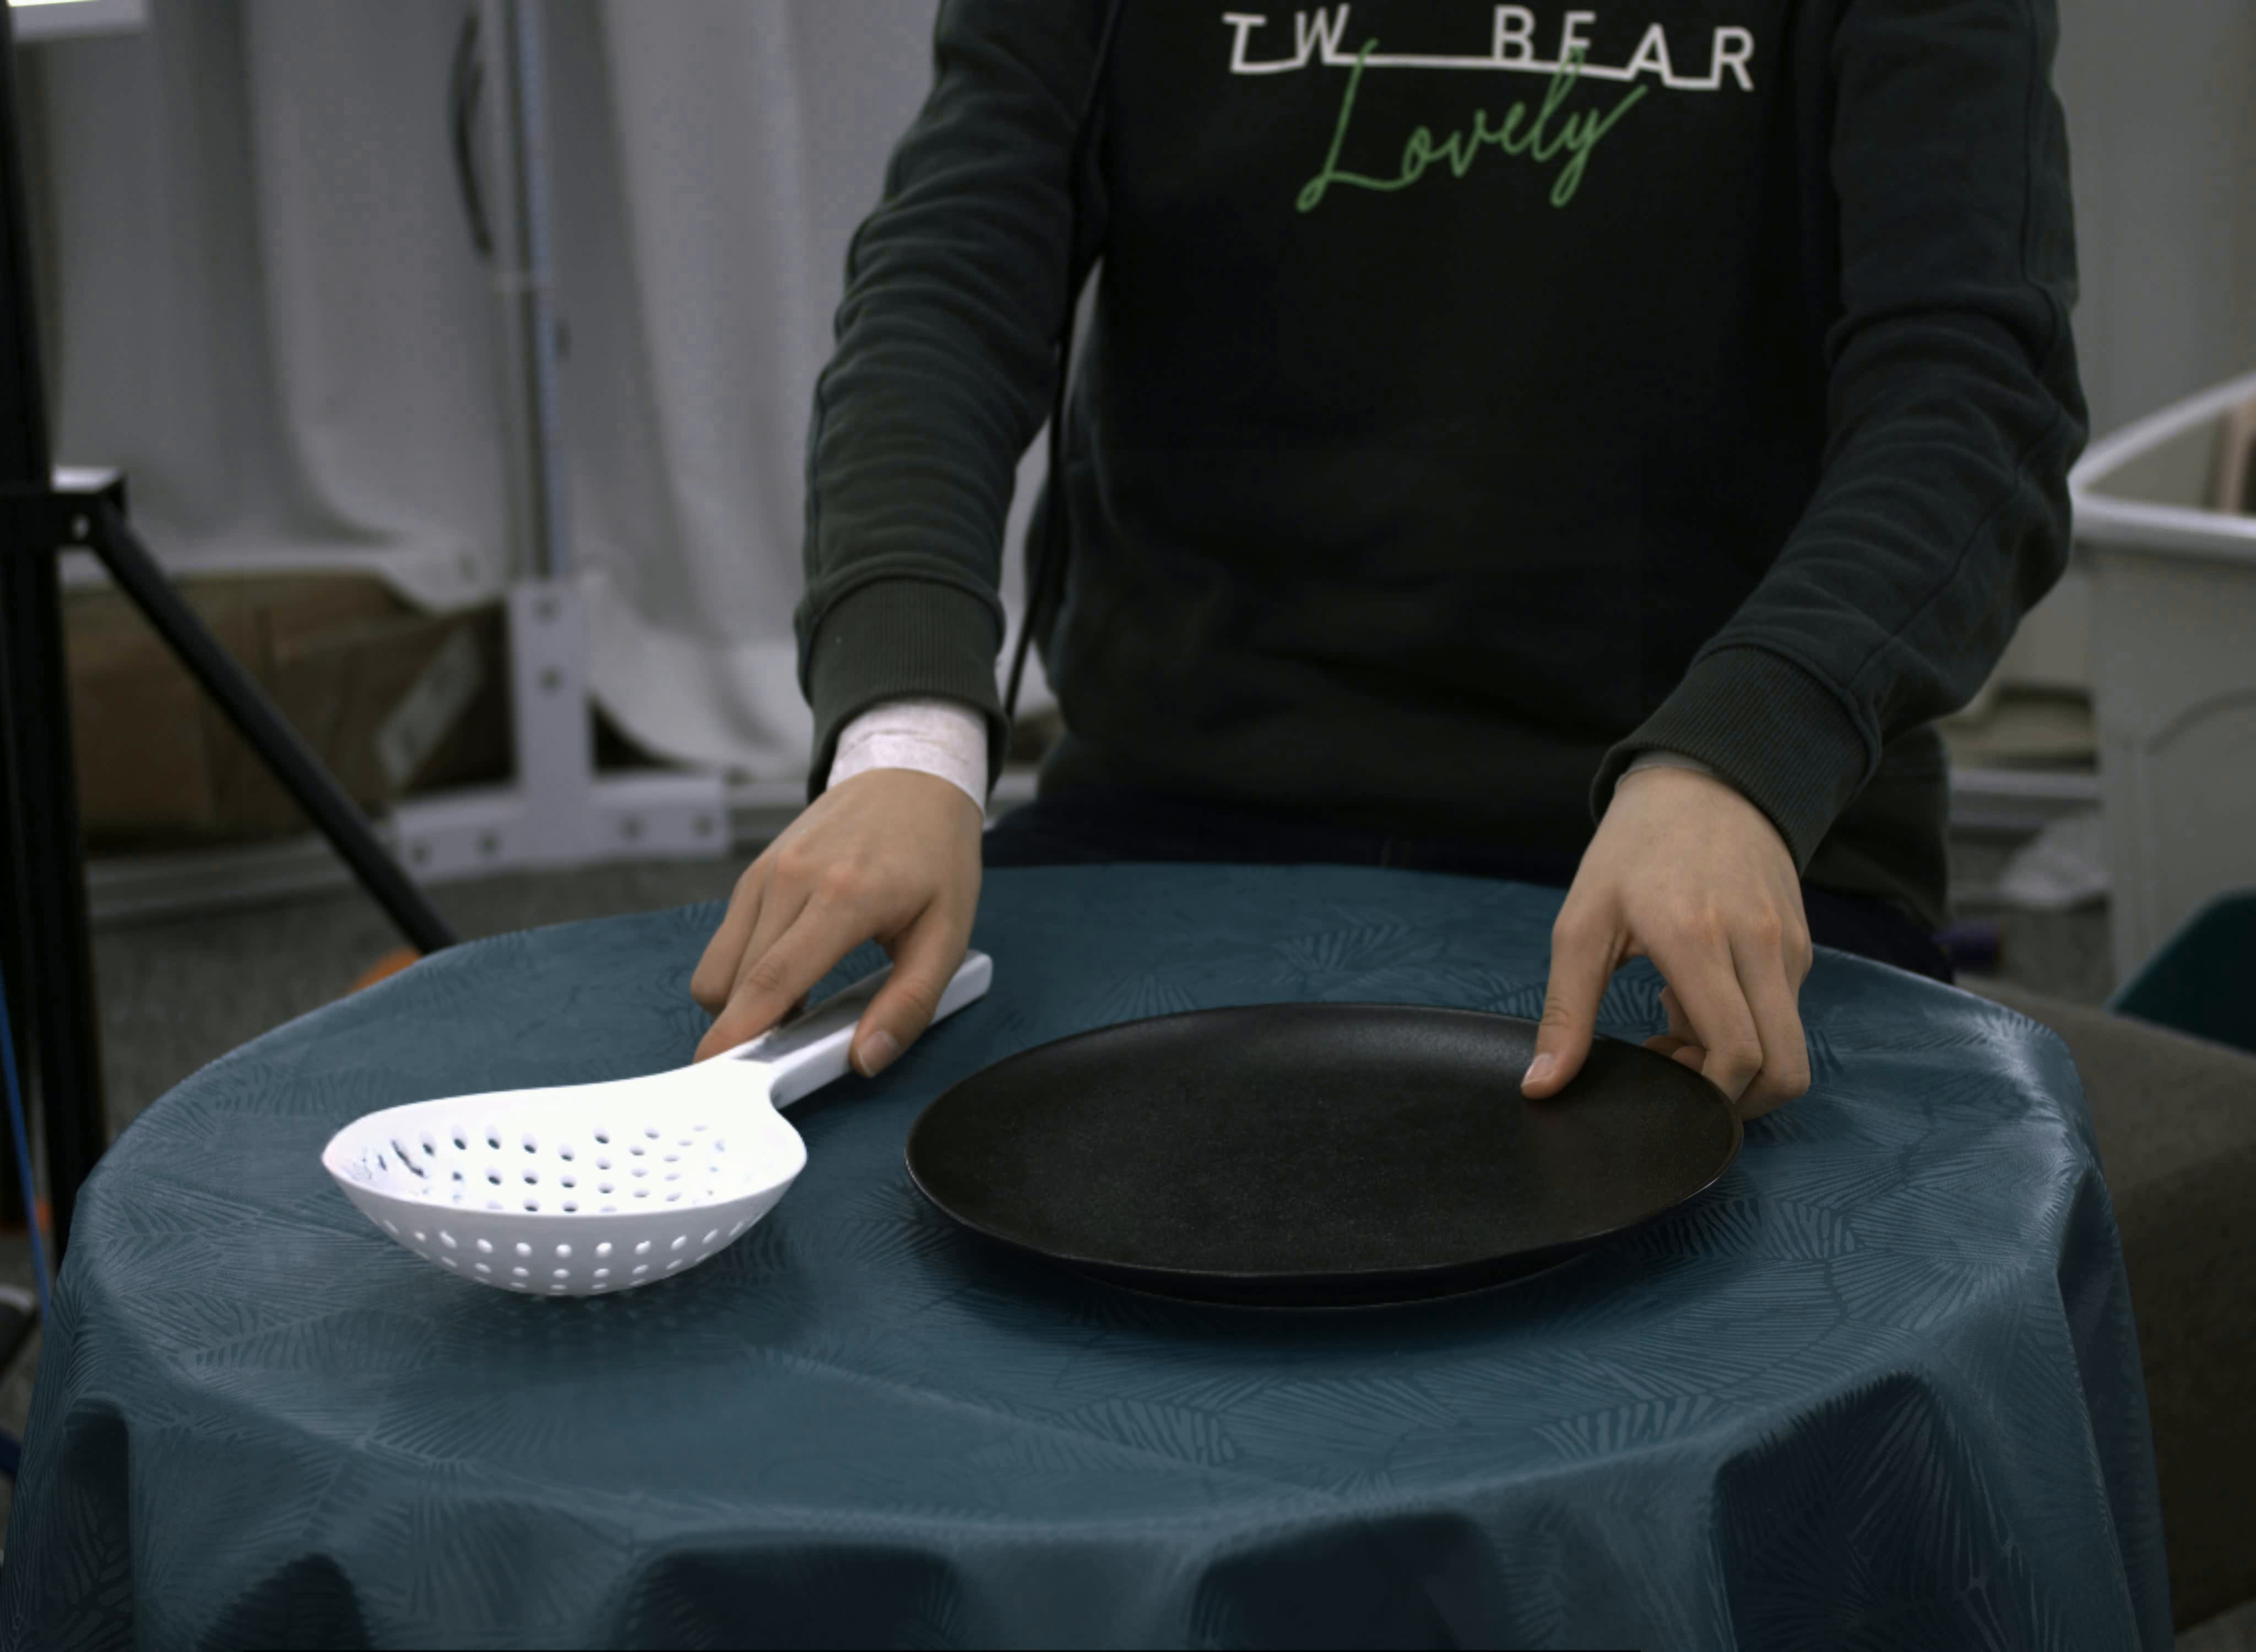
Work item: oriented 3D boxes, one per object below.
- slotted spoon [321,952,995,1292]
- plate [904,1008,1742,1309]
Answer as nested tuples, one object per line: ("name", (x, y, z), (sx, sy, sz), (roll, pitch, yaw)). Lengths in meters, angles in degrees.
("slotted spoon", (-0.119, 0.079, 1.597), (0.138, 0.046, 0.345), (7, 17, 21))
("plate", (0.057, 0.099, 1.539), (0.243, 0.023, 0.245), (-3, 15, -1))
